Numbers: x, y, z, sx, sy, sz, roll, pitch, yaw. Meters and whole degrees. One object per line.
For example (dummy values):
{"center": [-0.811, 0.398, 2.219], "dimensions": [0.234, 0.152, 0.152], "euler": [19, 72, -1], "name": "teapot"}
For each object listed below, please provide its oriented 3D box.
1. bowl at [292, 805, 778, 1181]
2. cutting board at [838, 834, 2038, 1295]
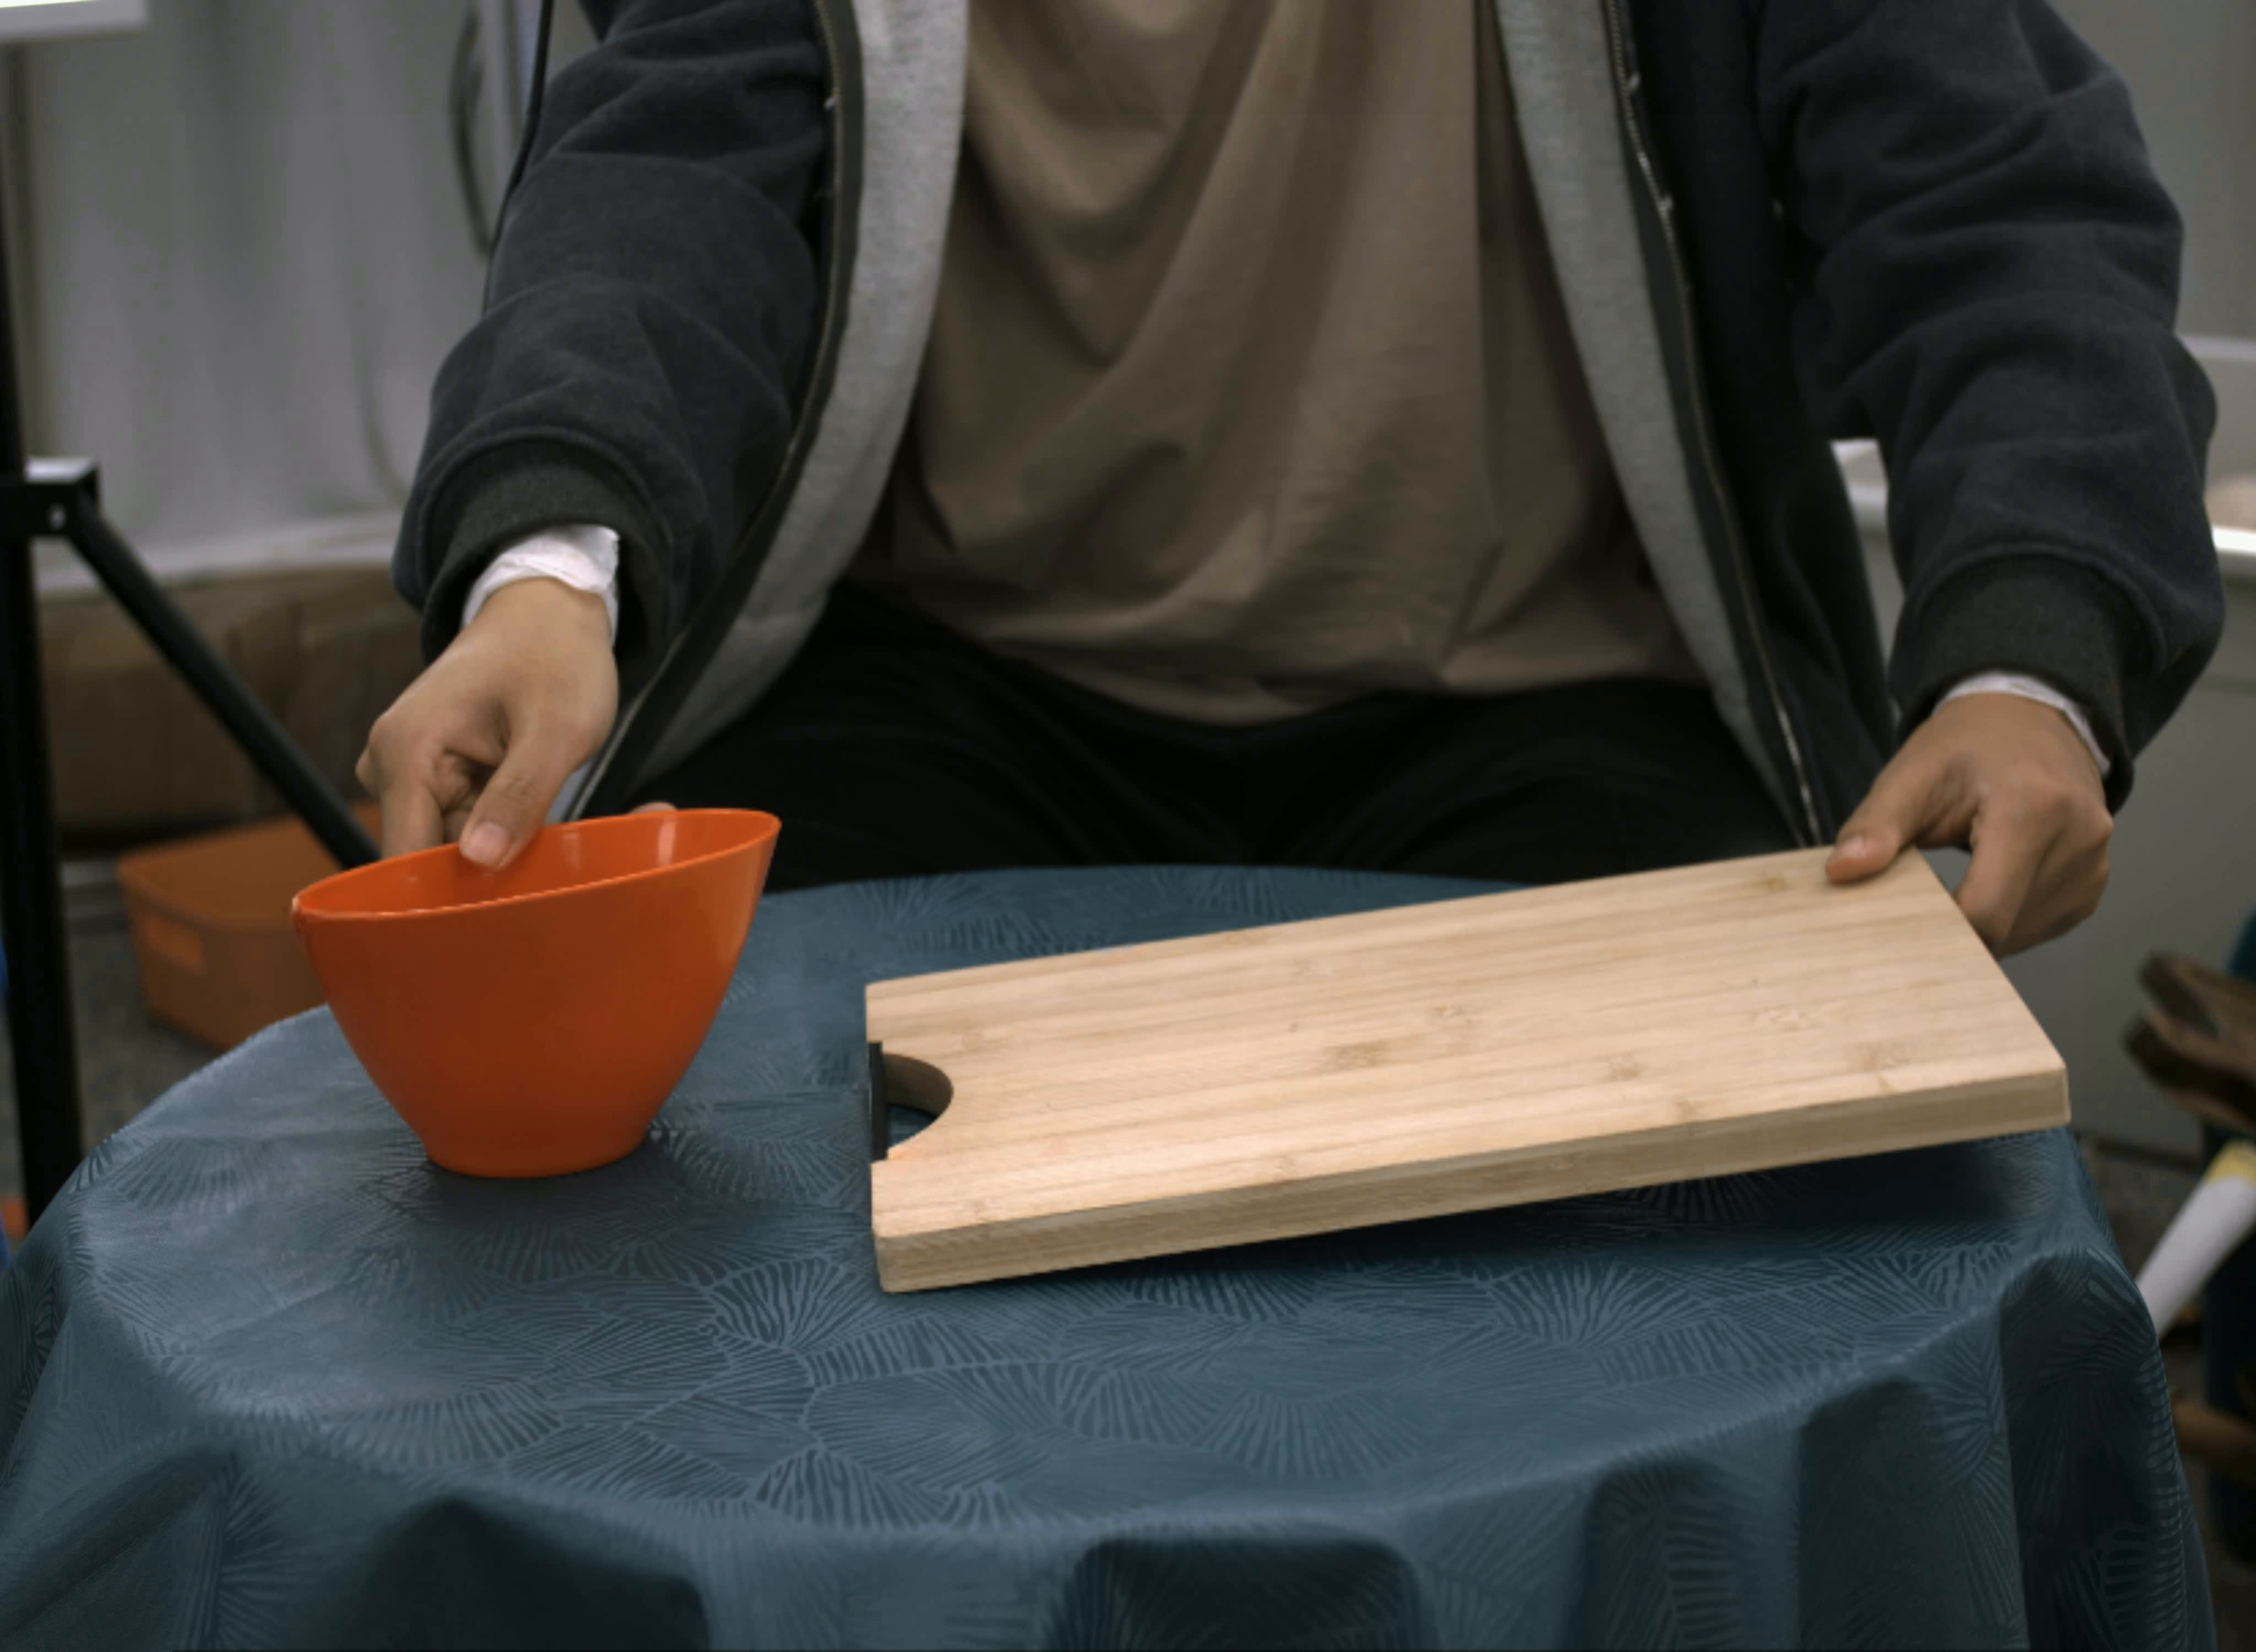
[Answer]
{"center": [-0.175, 0.050, 1.608], "dimensions": [0.147, 0.104, 0.149], "euler": [-4, 16, 0], "name": "bowl"}
{"center": [0.084, 0.069, 1.598], "dimensions": [0.347, 0.023, 0.252], "euler": [-8, 15, 0], "name": "cutting board"}
